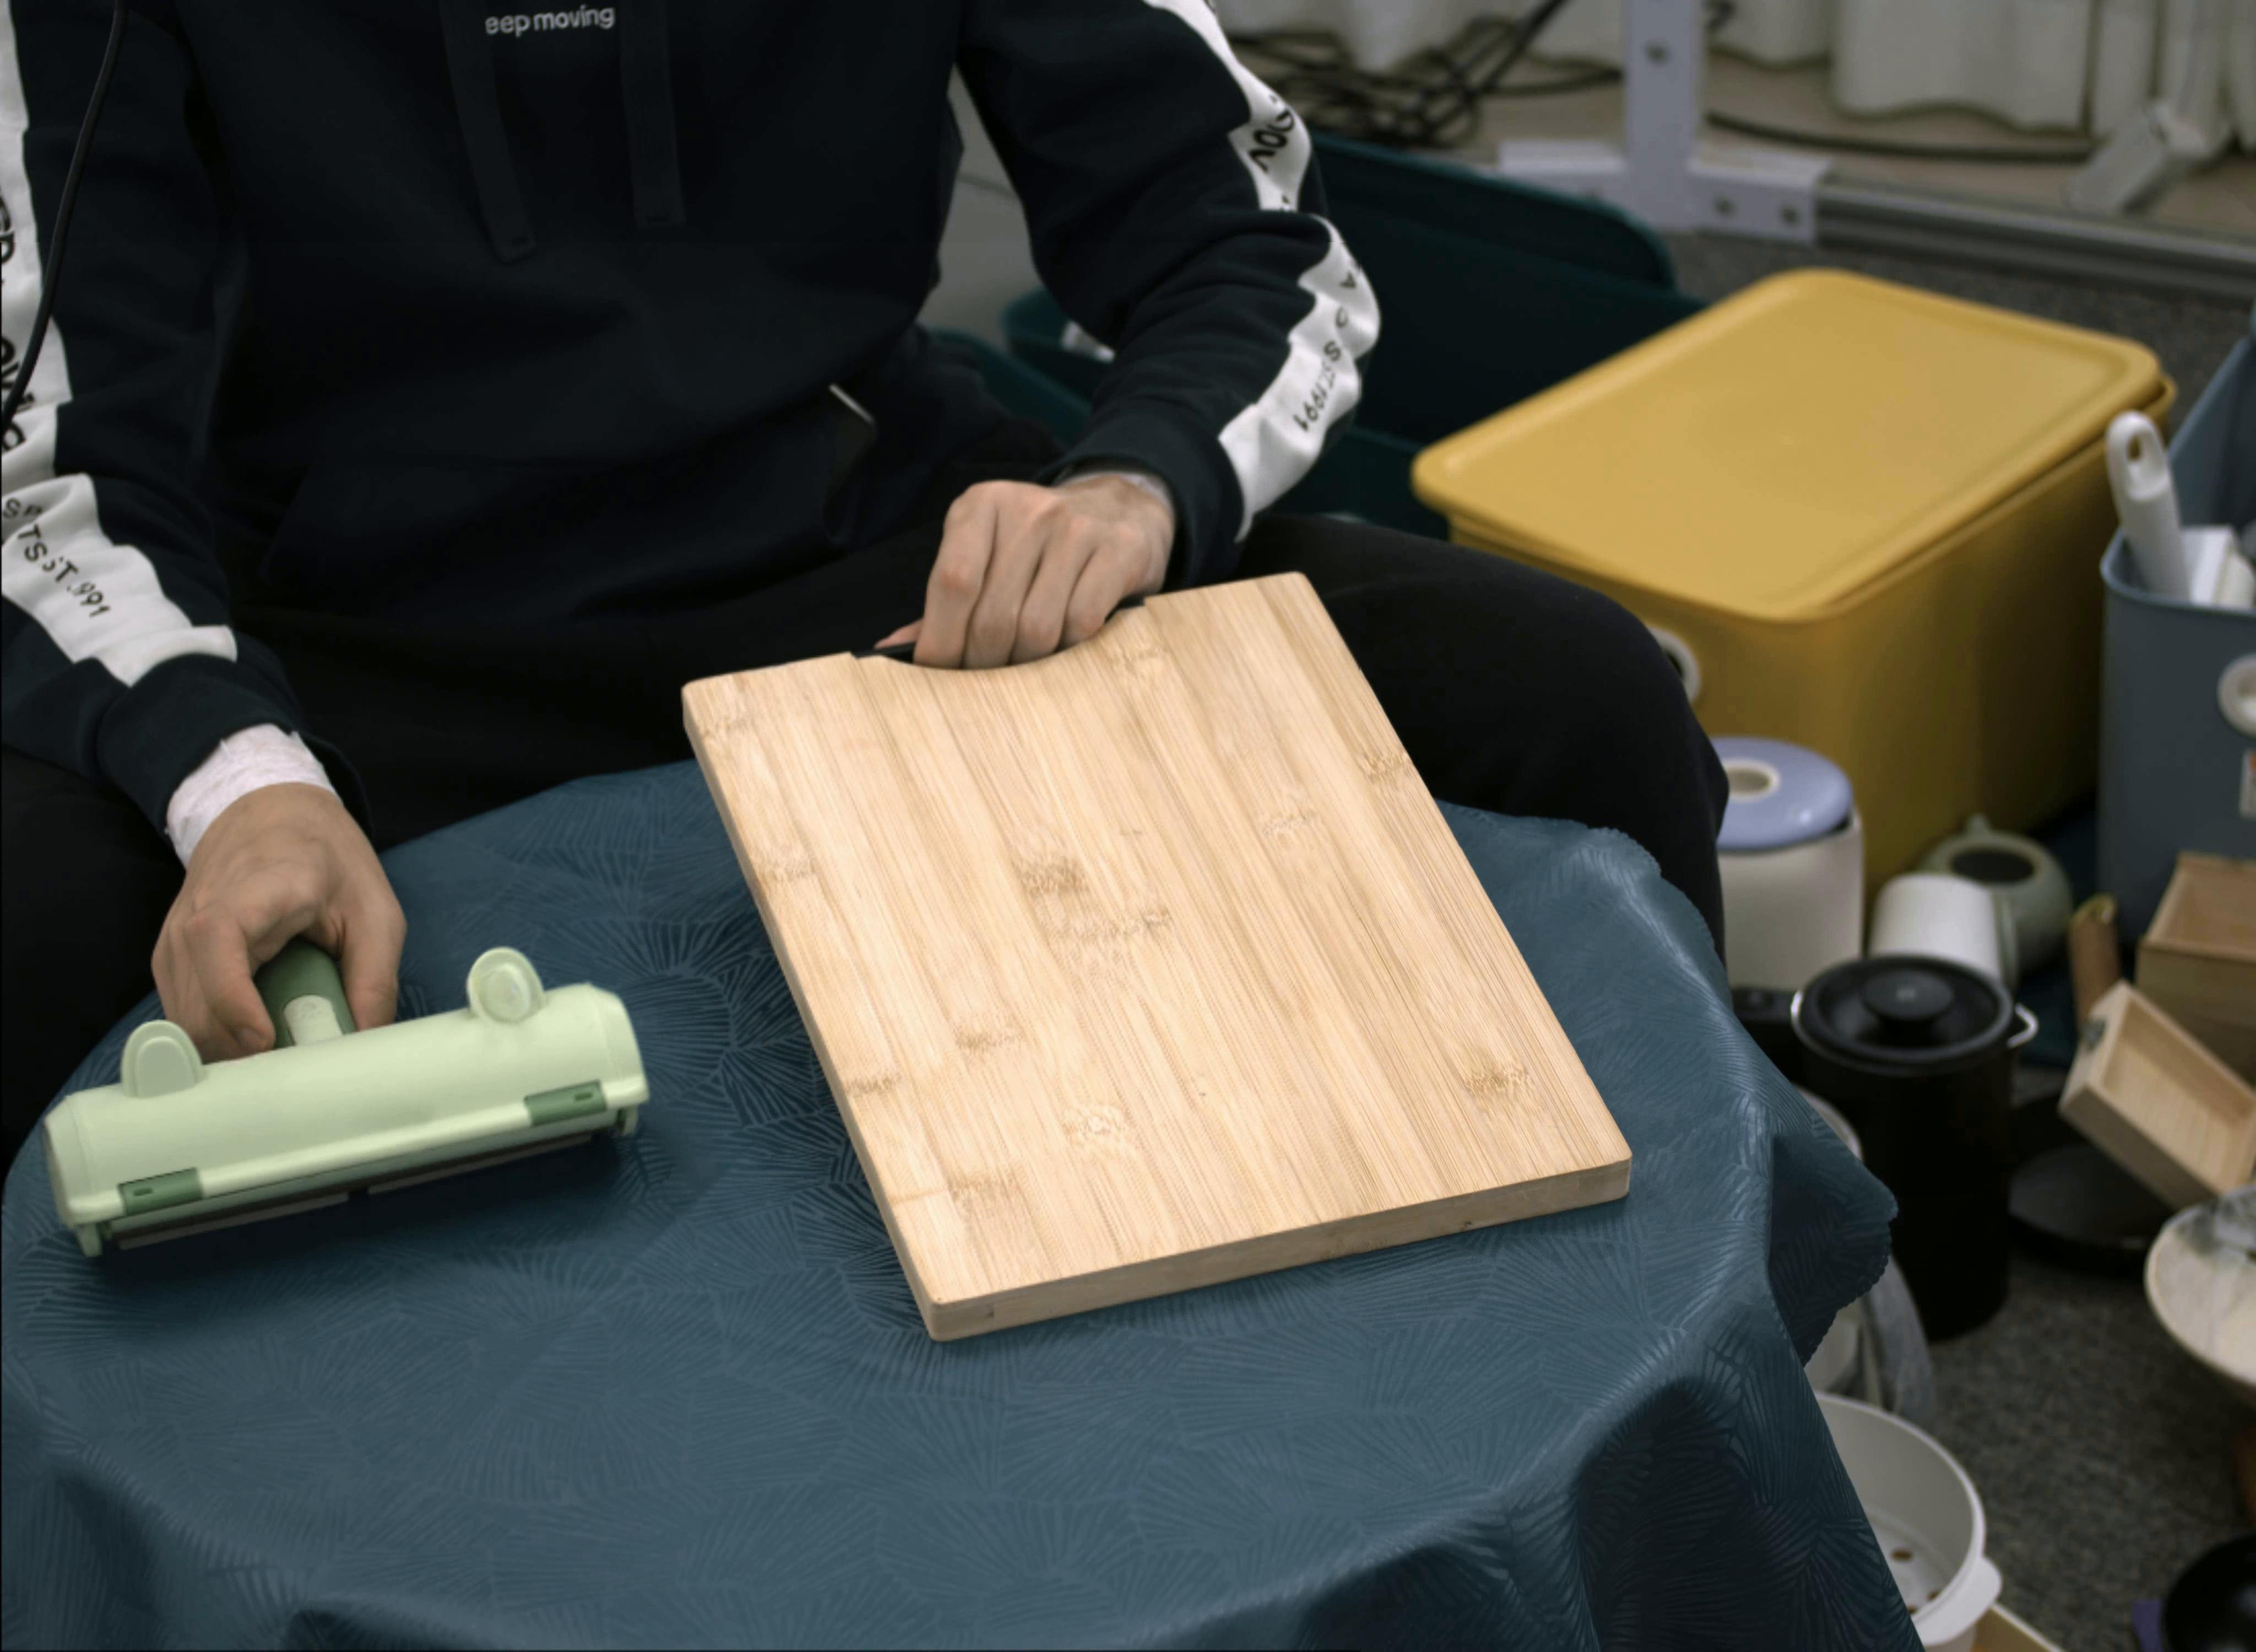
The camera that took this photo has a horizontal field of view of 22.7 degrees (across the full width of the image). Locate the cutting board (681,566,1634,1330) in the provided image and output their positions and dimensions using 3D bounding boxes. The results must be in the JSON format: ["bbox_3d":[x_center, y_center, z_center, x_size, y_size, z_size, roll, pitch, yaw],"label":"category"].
[{"bbox_3d":[0.001,0.035,1.941,0.251,0.023,0.353,-10,39,-15],"label":"cutting board"}]

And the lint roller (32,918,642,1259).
[{"bbox_3d":[-0.279,0.063,1.902,0.199,0.081,0.185,-11,36,-15],"label":"lint roller"}]
